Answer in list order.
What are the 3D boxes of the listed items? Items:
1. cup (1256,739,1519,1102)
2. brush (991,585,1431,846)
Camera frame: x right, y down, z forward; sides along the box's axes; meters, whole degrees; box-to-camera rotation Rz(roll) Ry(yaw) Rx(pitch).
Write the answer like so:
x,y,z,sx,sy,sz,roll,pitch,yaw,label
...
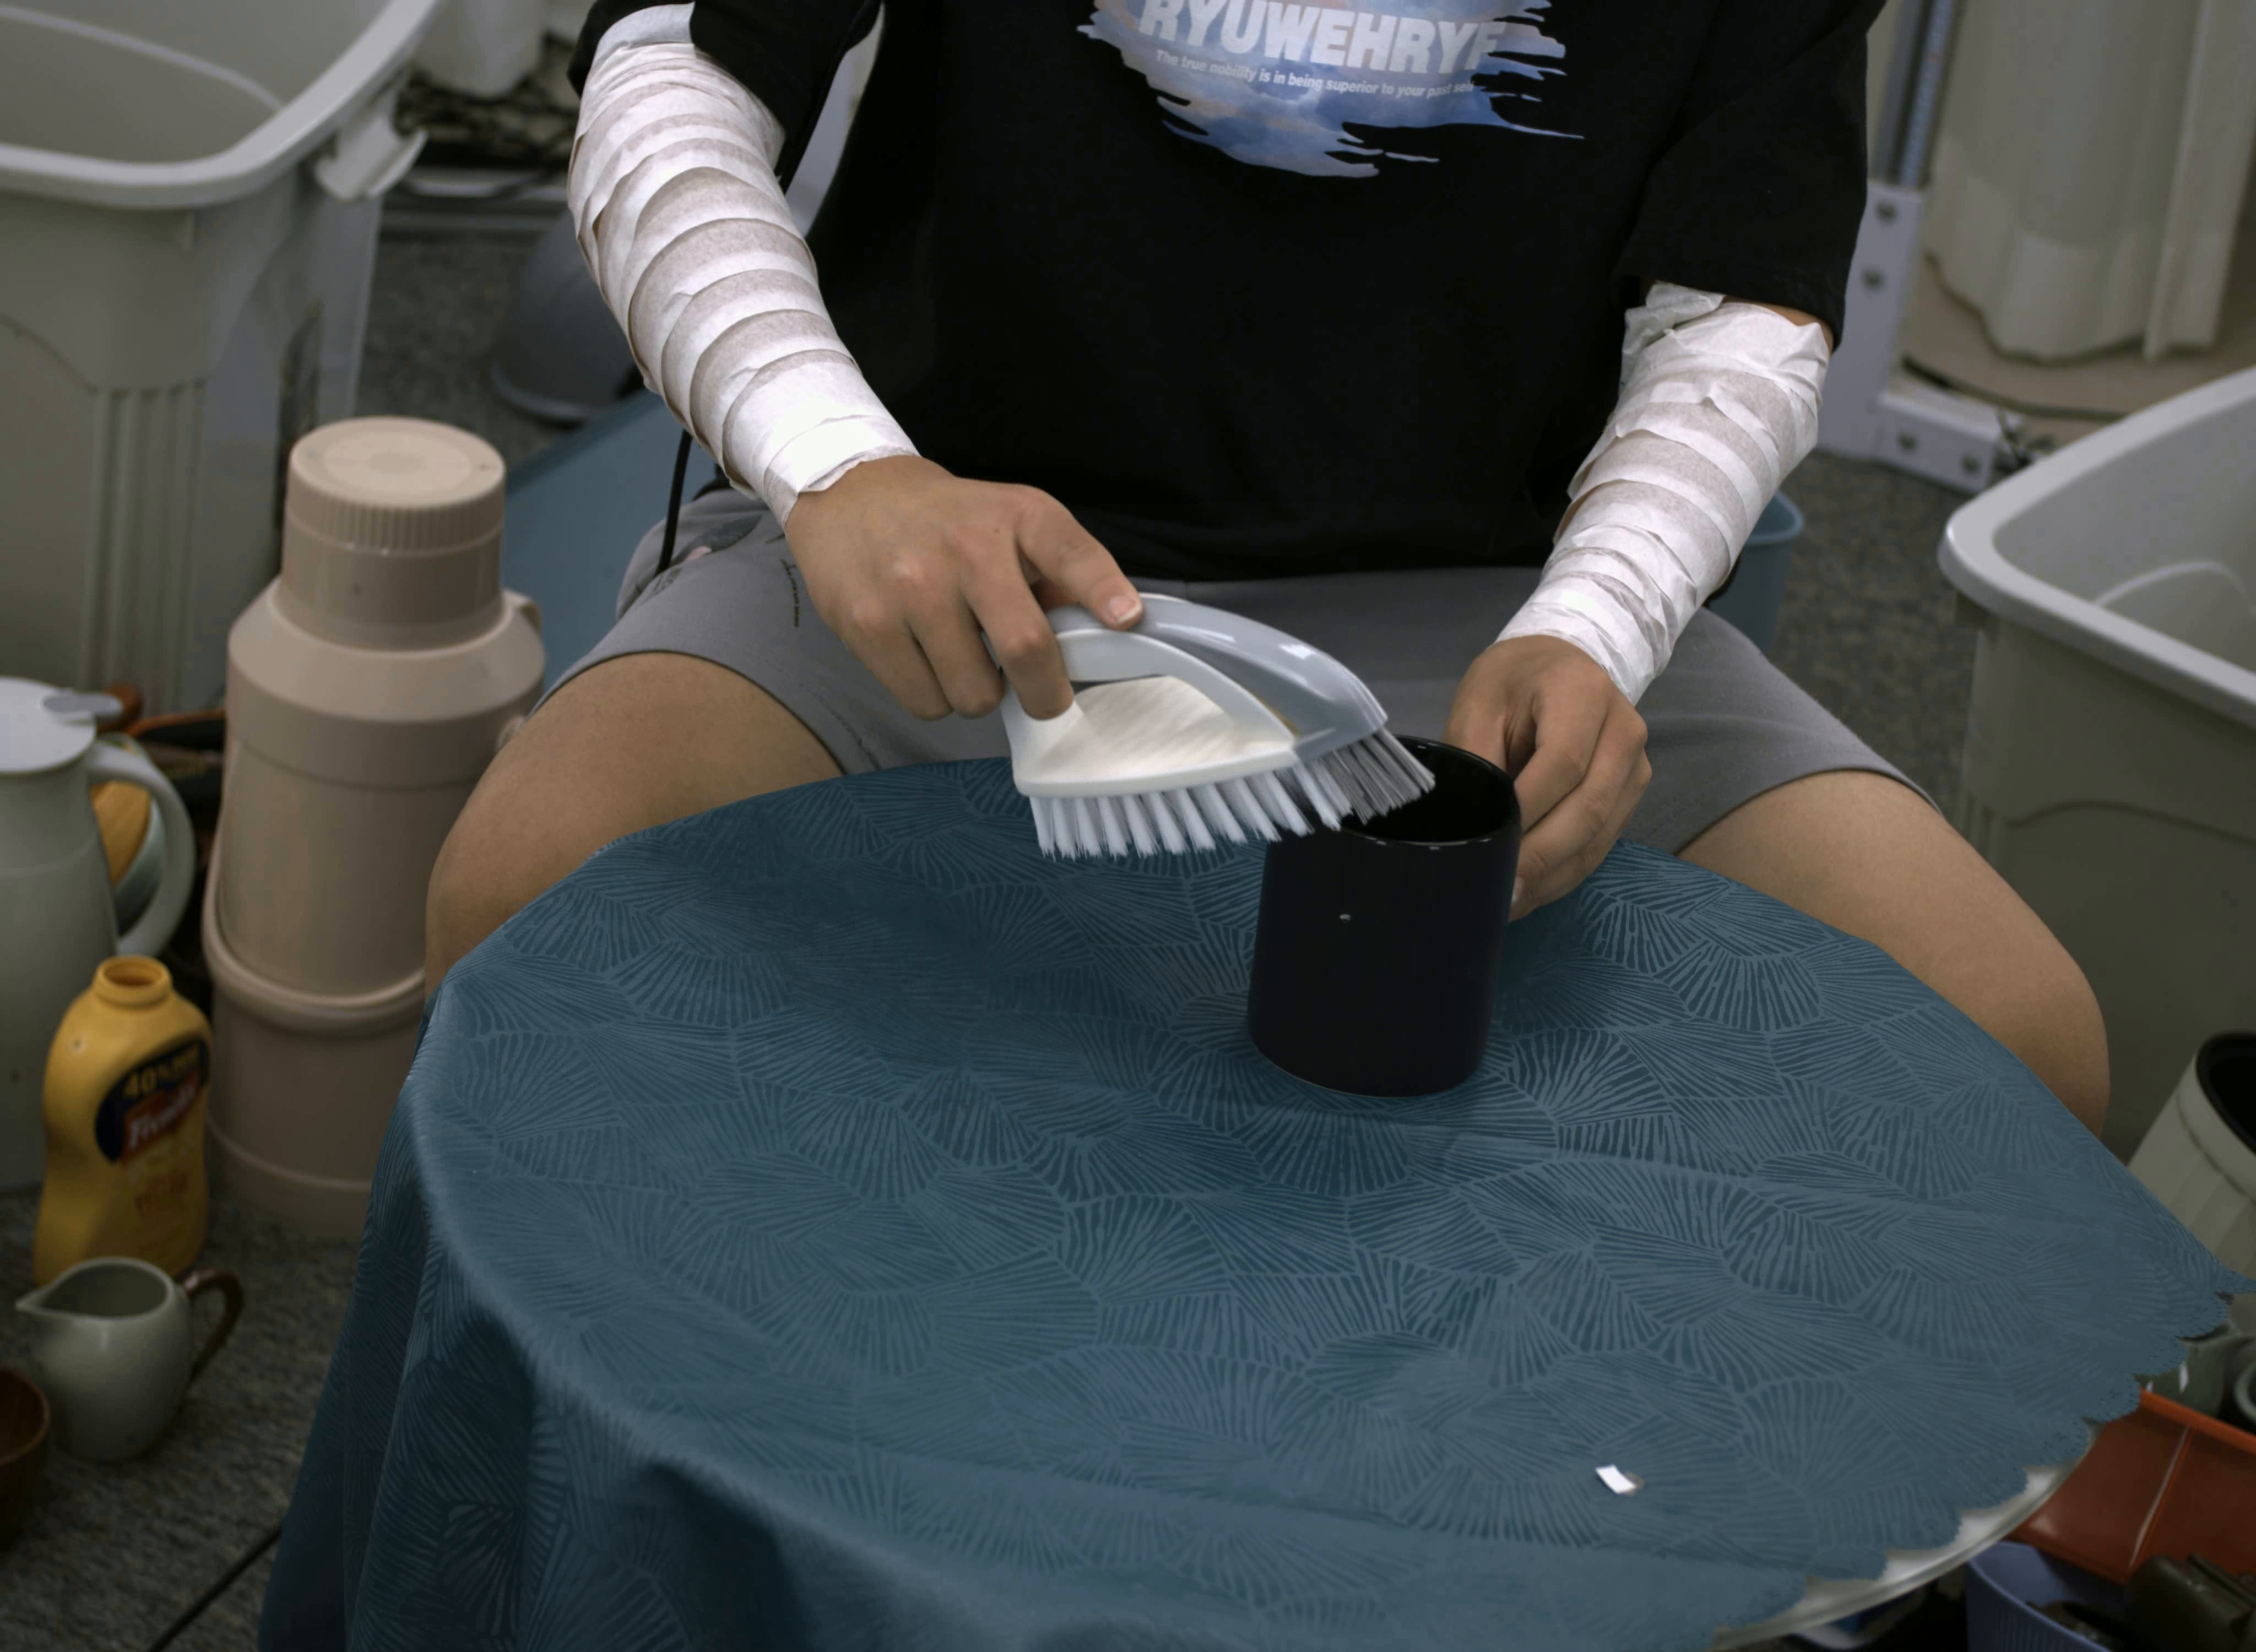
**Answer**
x,y,z,sx,sy,sz,roll,pitch,yaw,label
0.101,0.028,1.906,0.089,0.105,0.123,17,26,30,cup
0.023,-0.045,1.869,0.176,0.093,0.061,0,41,45,brush
